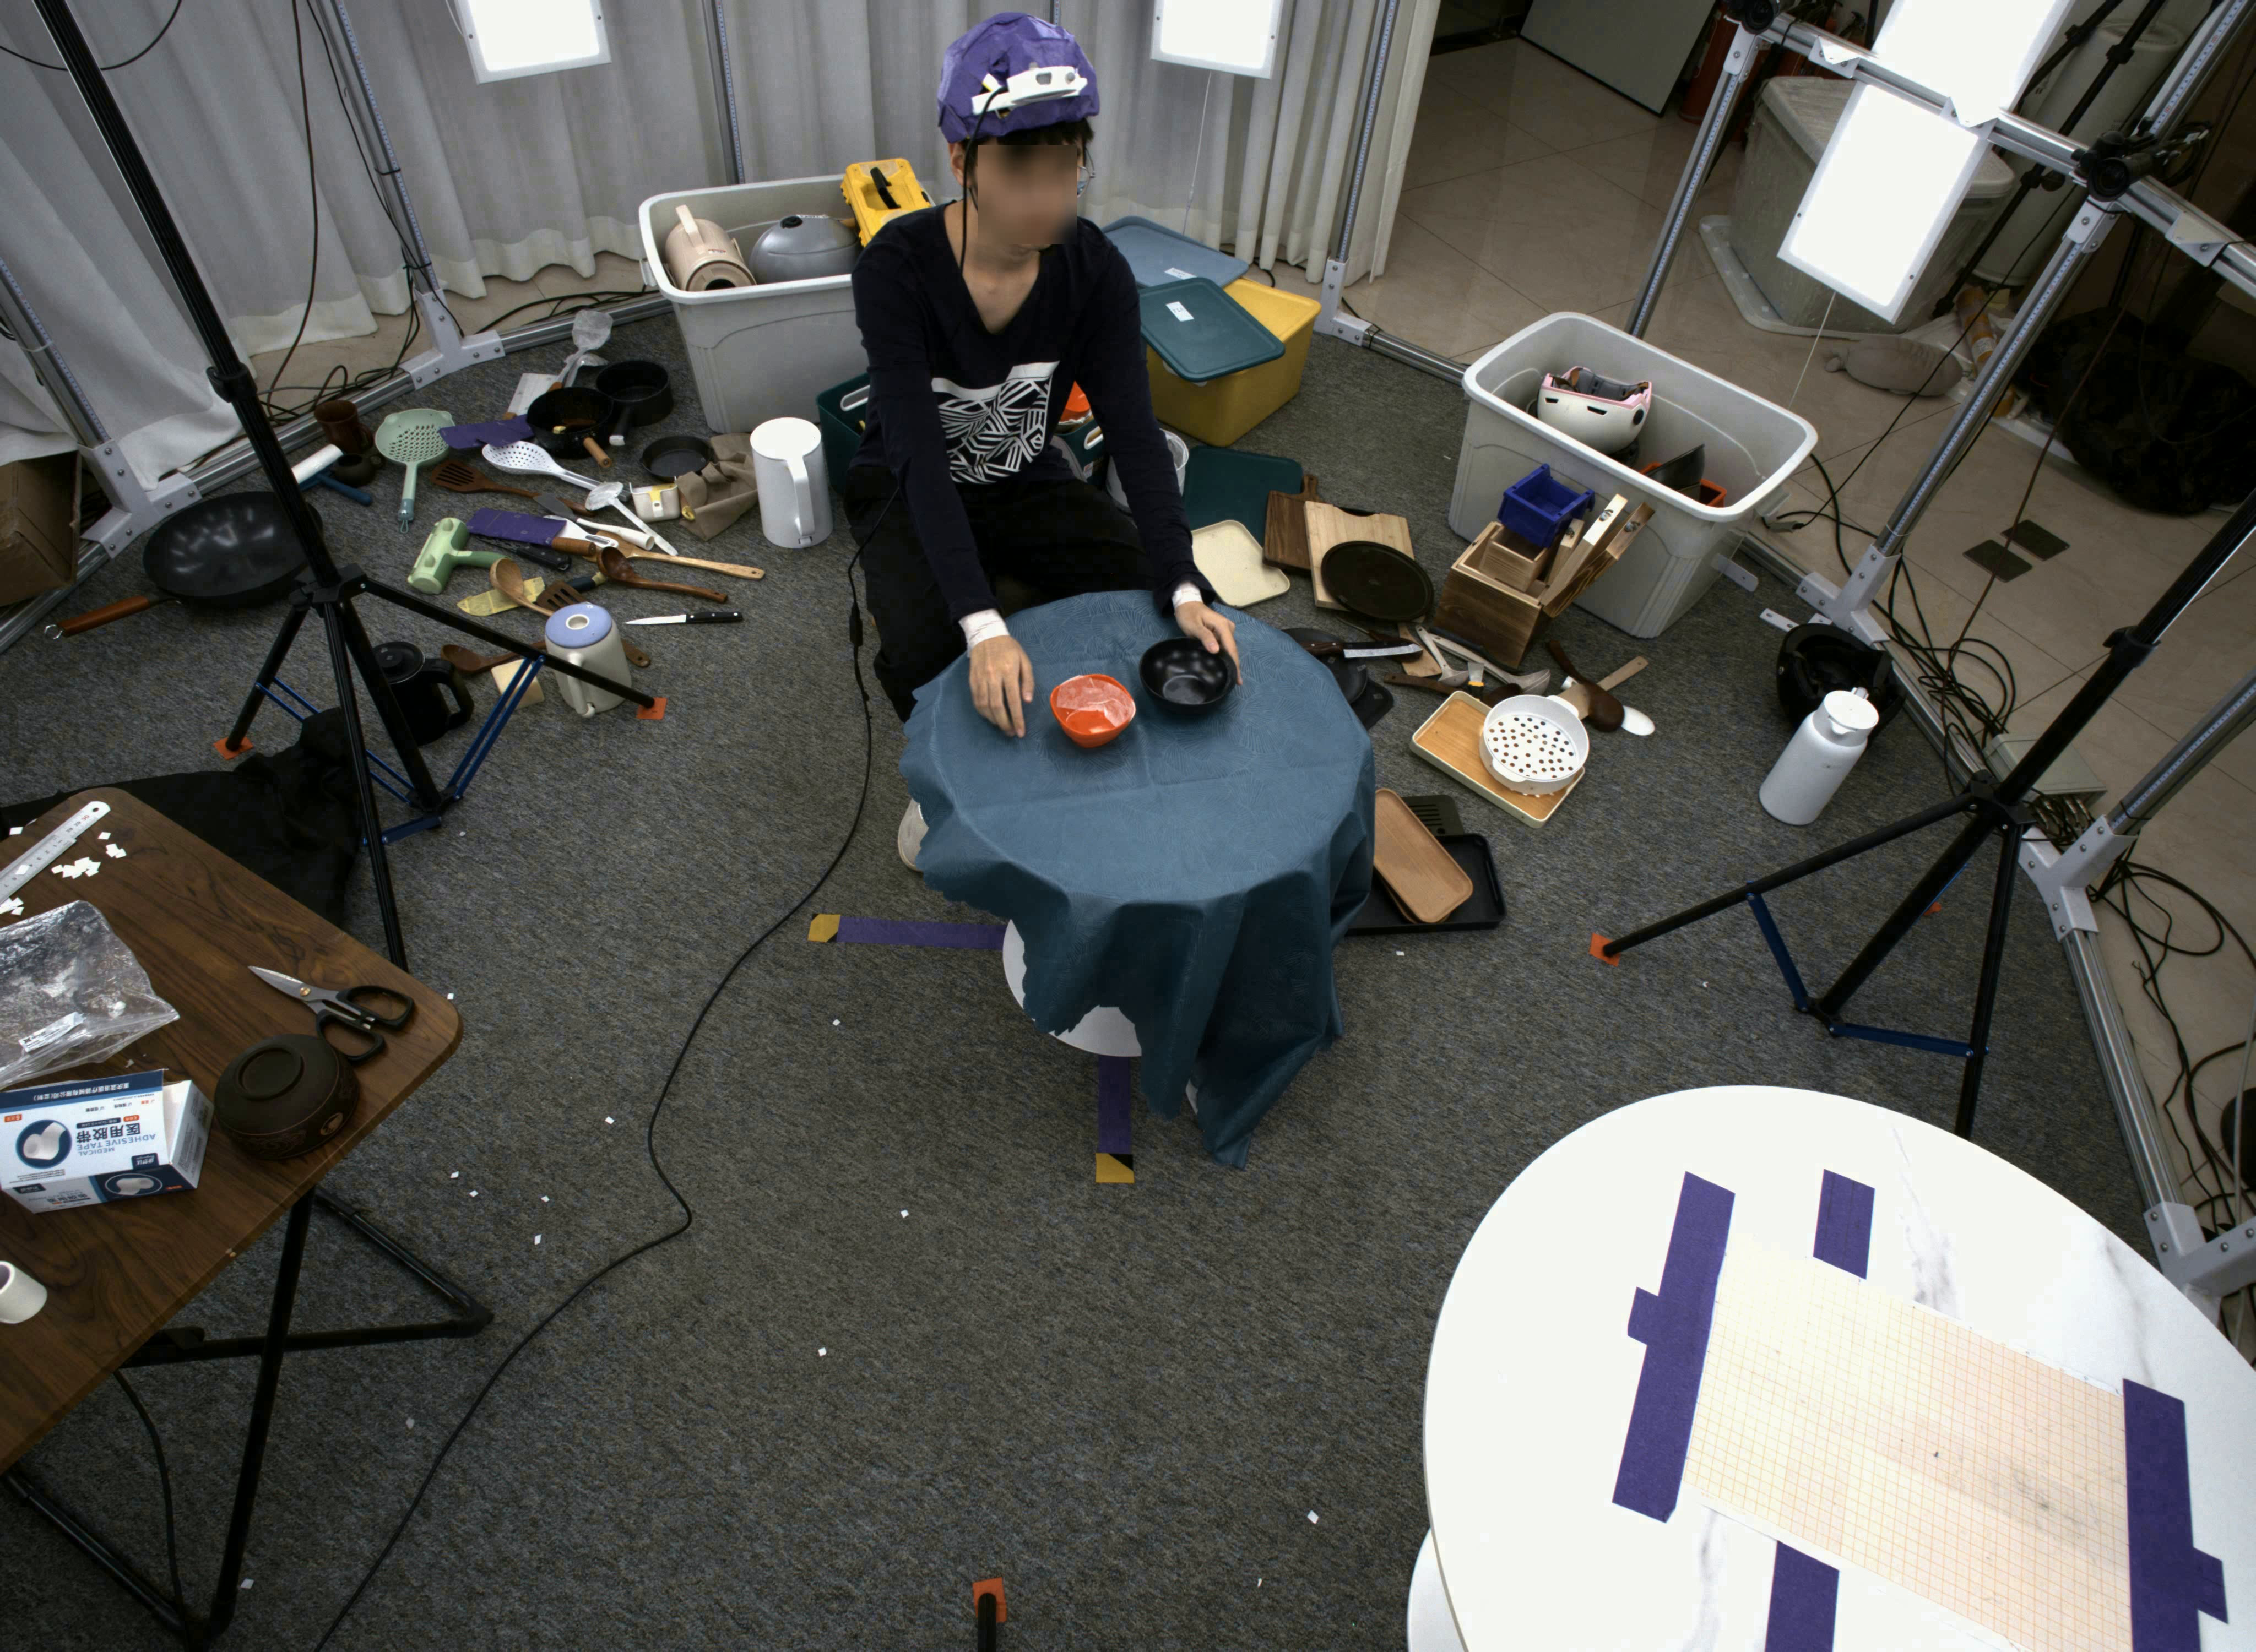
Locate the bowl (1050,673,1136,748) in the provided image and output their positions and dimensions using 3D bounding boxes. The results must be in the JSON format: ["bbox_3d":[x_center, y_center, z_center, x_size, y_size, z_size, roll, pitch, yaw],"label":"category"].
[{"bbox_3d":[-0.049,-0.153,1.763,0.119,0.050,0.122,2,50,-2],"label":"bowl"}]

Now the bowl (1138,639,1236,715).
[{"bbox_3d":[0.083,-0.203,1.820,0.140,0.048,0.143,1,46,-1],"label":"bowl"}]
